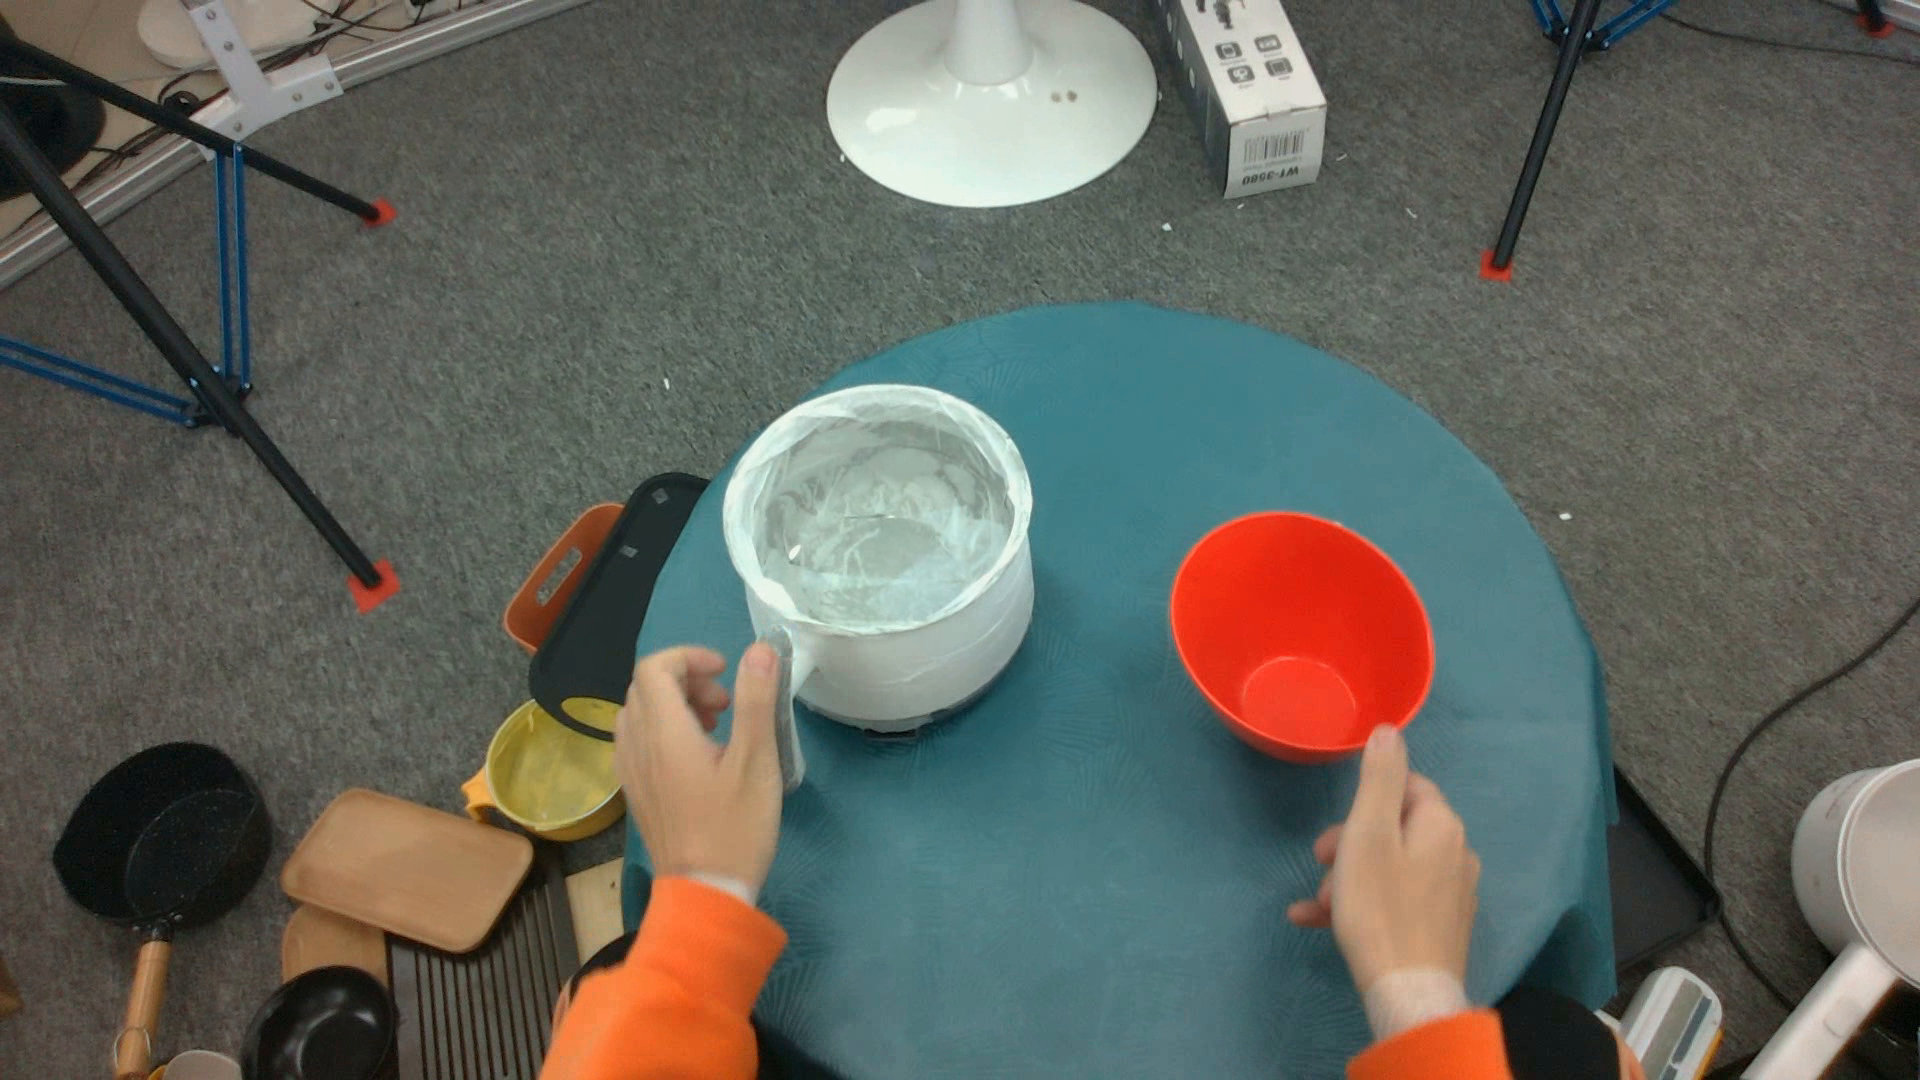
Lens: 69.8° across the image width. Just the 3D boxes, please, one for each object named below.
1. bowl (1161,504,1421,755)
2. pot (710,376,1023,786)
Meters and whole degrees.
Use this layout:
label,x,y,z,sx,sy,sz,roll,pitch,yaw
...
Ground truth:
label,x,y,z,sx,sy,sz,roll,pitch,yaw
bowl,0.187,0.066,0.804,0.148,0.104,0.148,-1,56,1
pot,-0.064,0.030,0.819,0.178,0.136,0.235,22,59,18
